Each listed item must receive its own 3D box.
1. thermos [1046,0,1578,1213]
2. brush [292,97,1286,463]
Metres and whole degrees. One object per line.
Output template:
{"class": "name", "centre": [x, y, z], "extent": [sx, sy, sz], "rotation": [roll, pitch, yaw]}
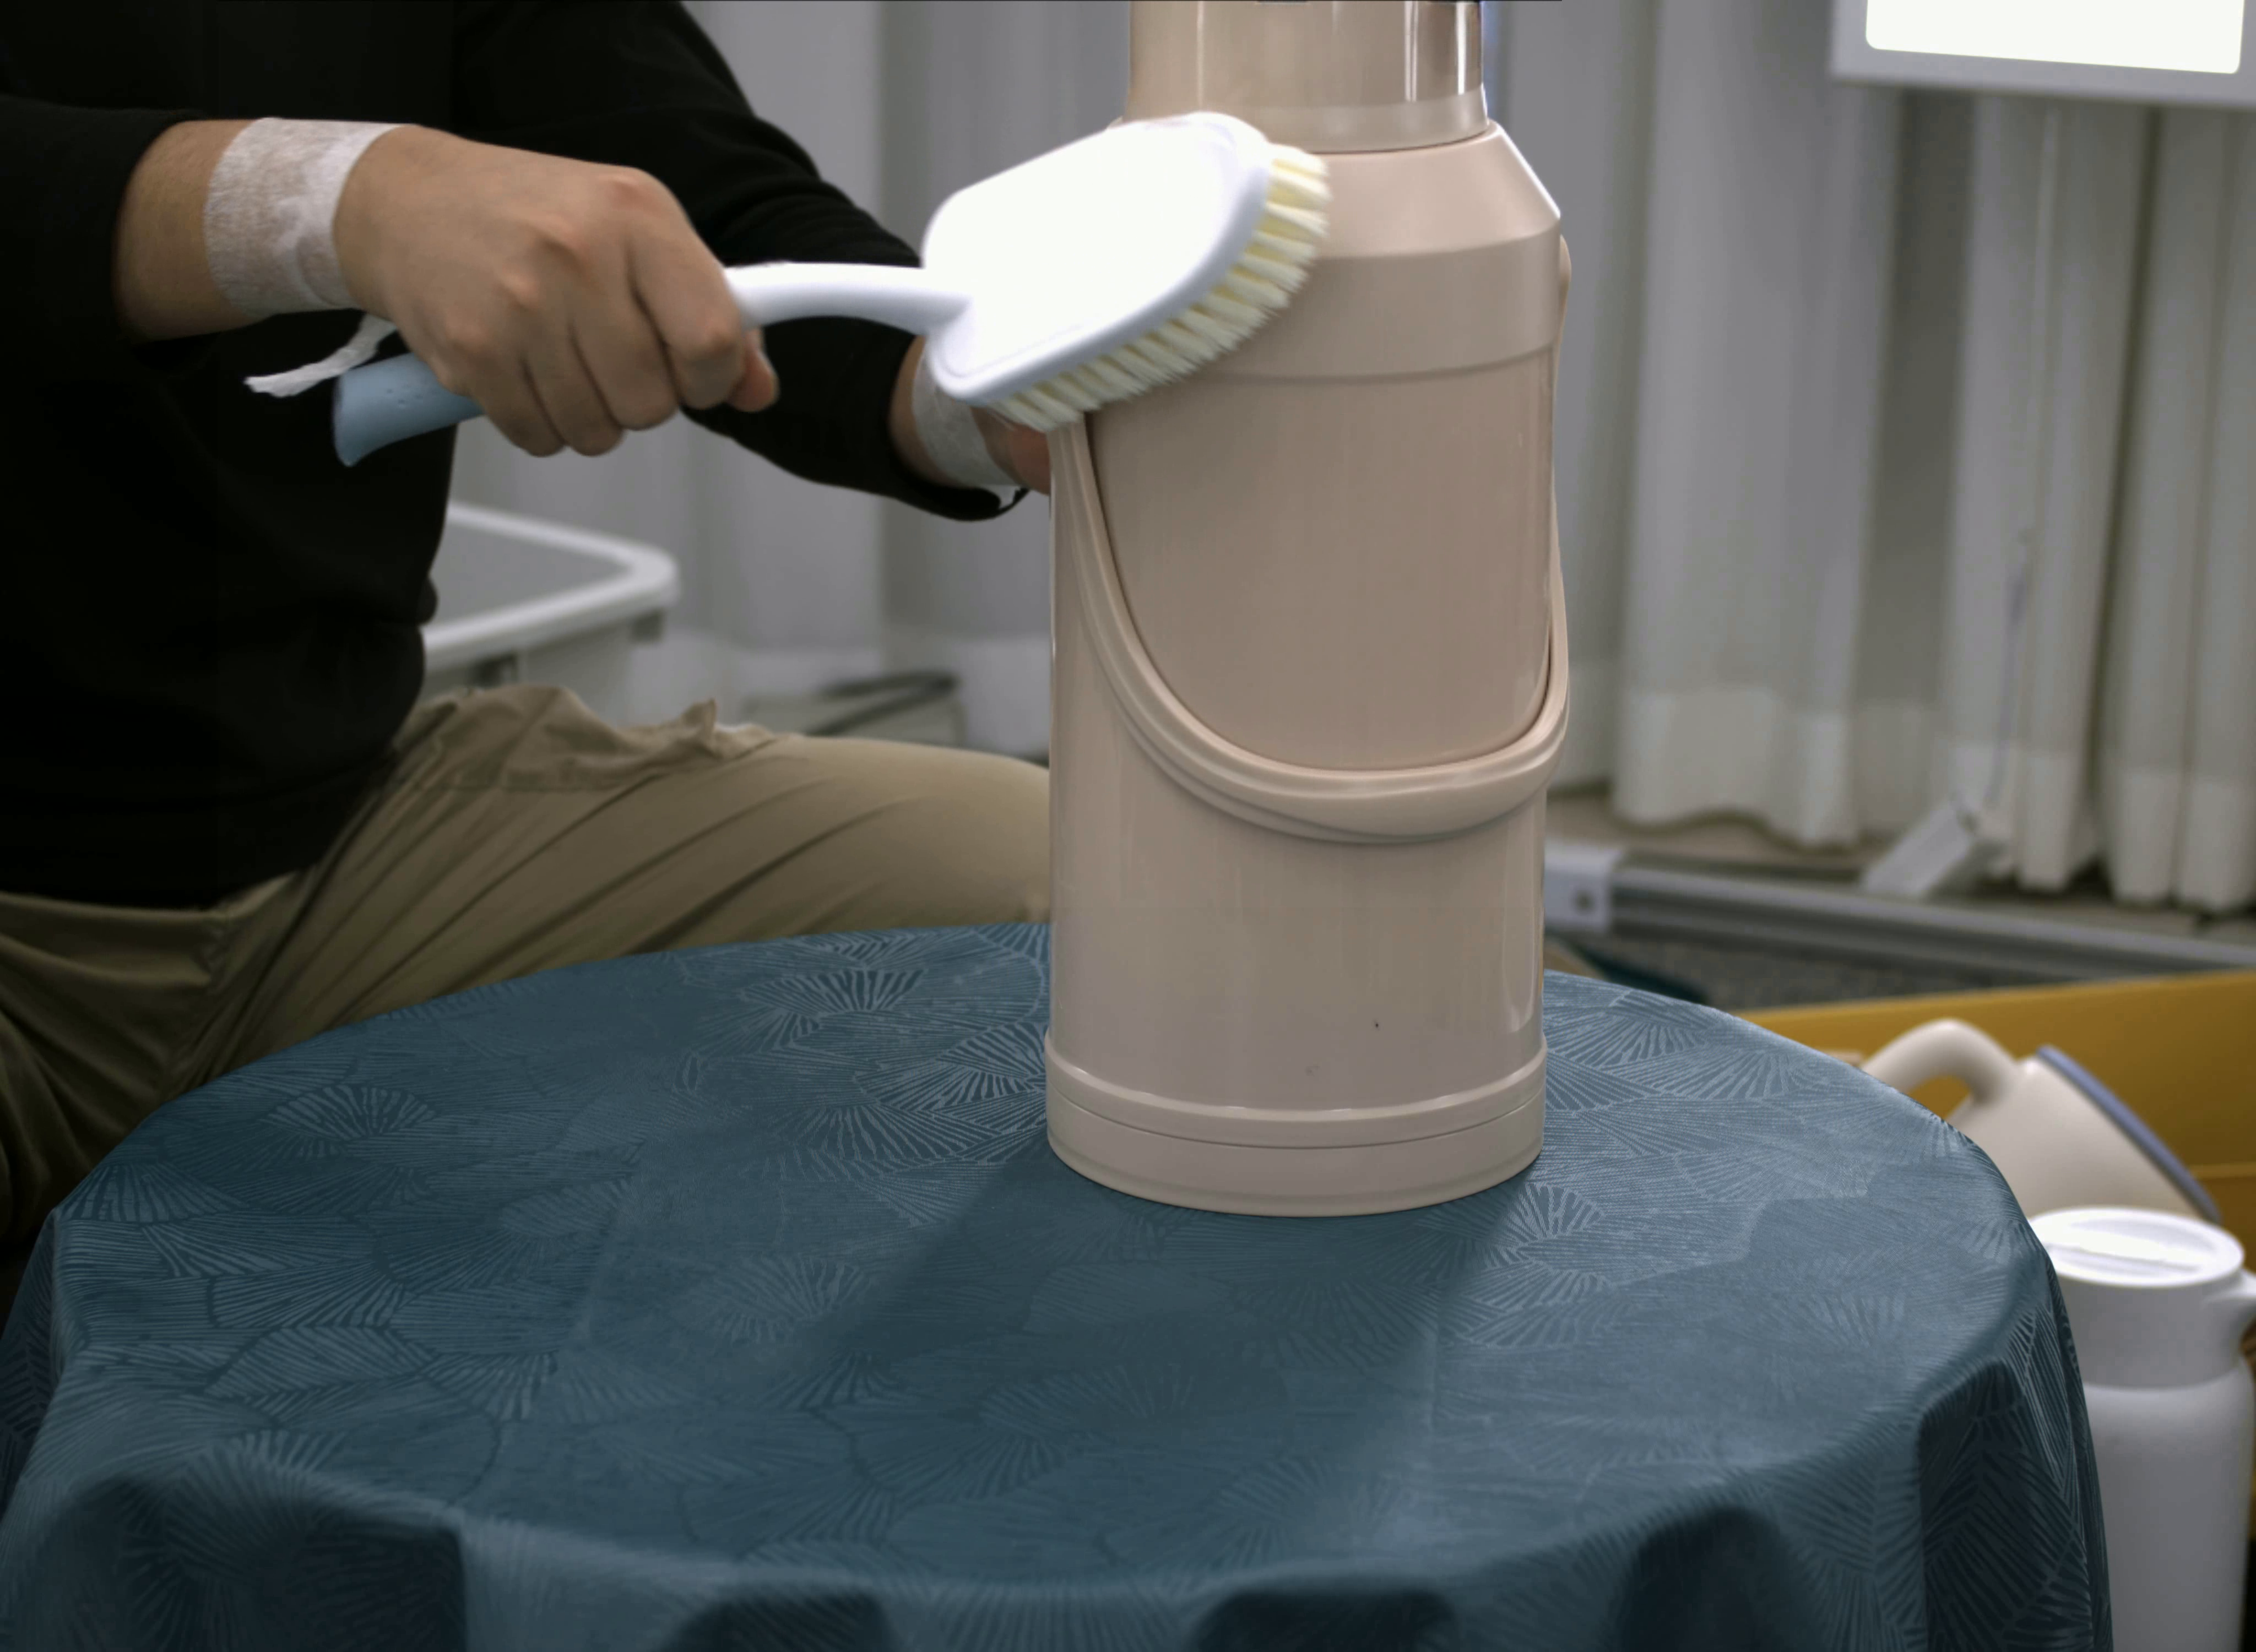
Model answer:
{"class": "thermos", "centre": [0.050, -0.097, 1.632], "extent": [0.176, 0.410, 0.204], "rotation": [-10, 19, -27]}
{"class": "brush", "centre": [-0.097, -0.148, 1.551], "extent": [0.323, 0.085, 0.082], "rotation": [-14, 27, 23]}
